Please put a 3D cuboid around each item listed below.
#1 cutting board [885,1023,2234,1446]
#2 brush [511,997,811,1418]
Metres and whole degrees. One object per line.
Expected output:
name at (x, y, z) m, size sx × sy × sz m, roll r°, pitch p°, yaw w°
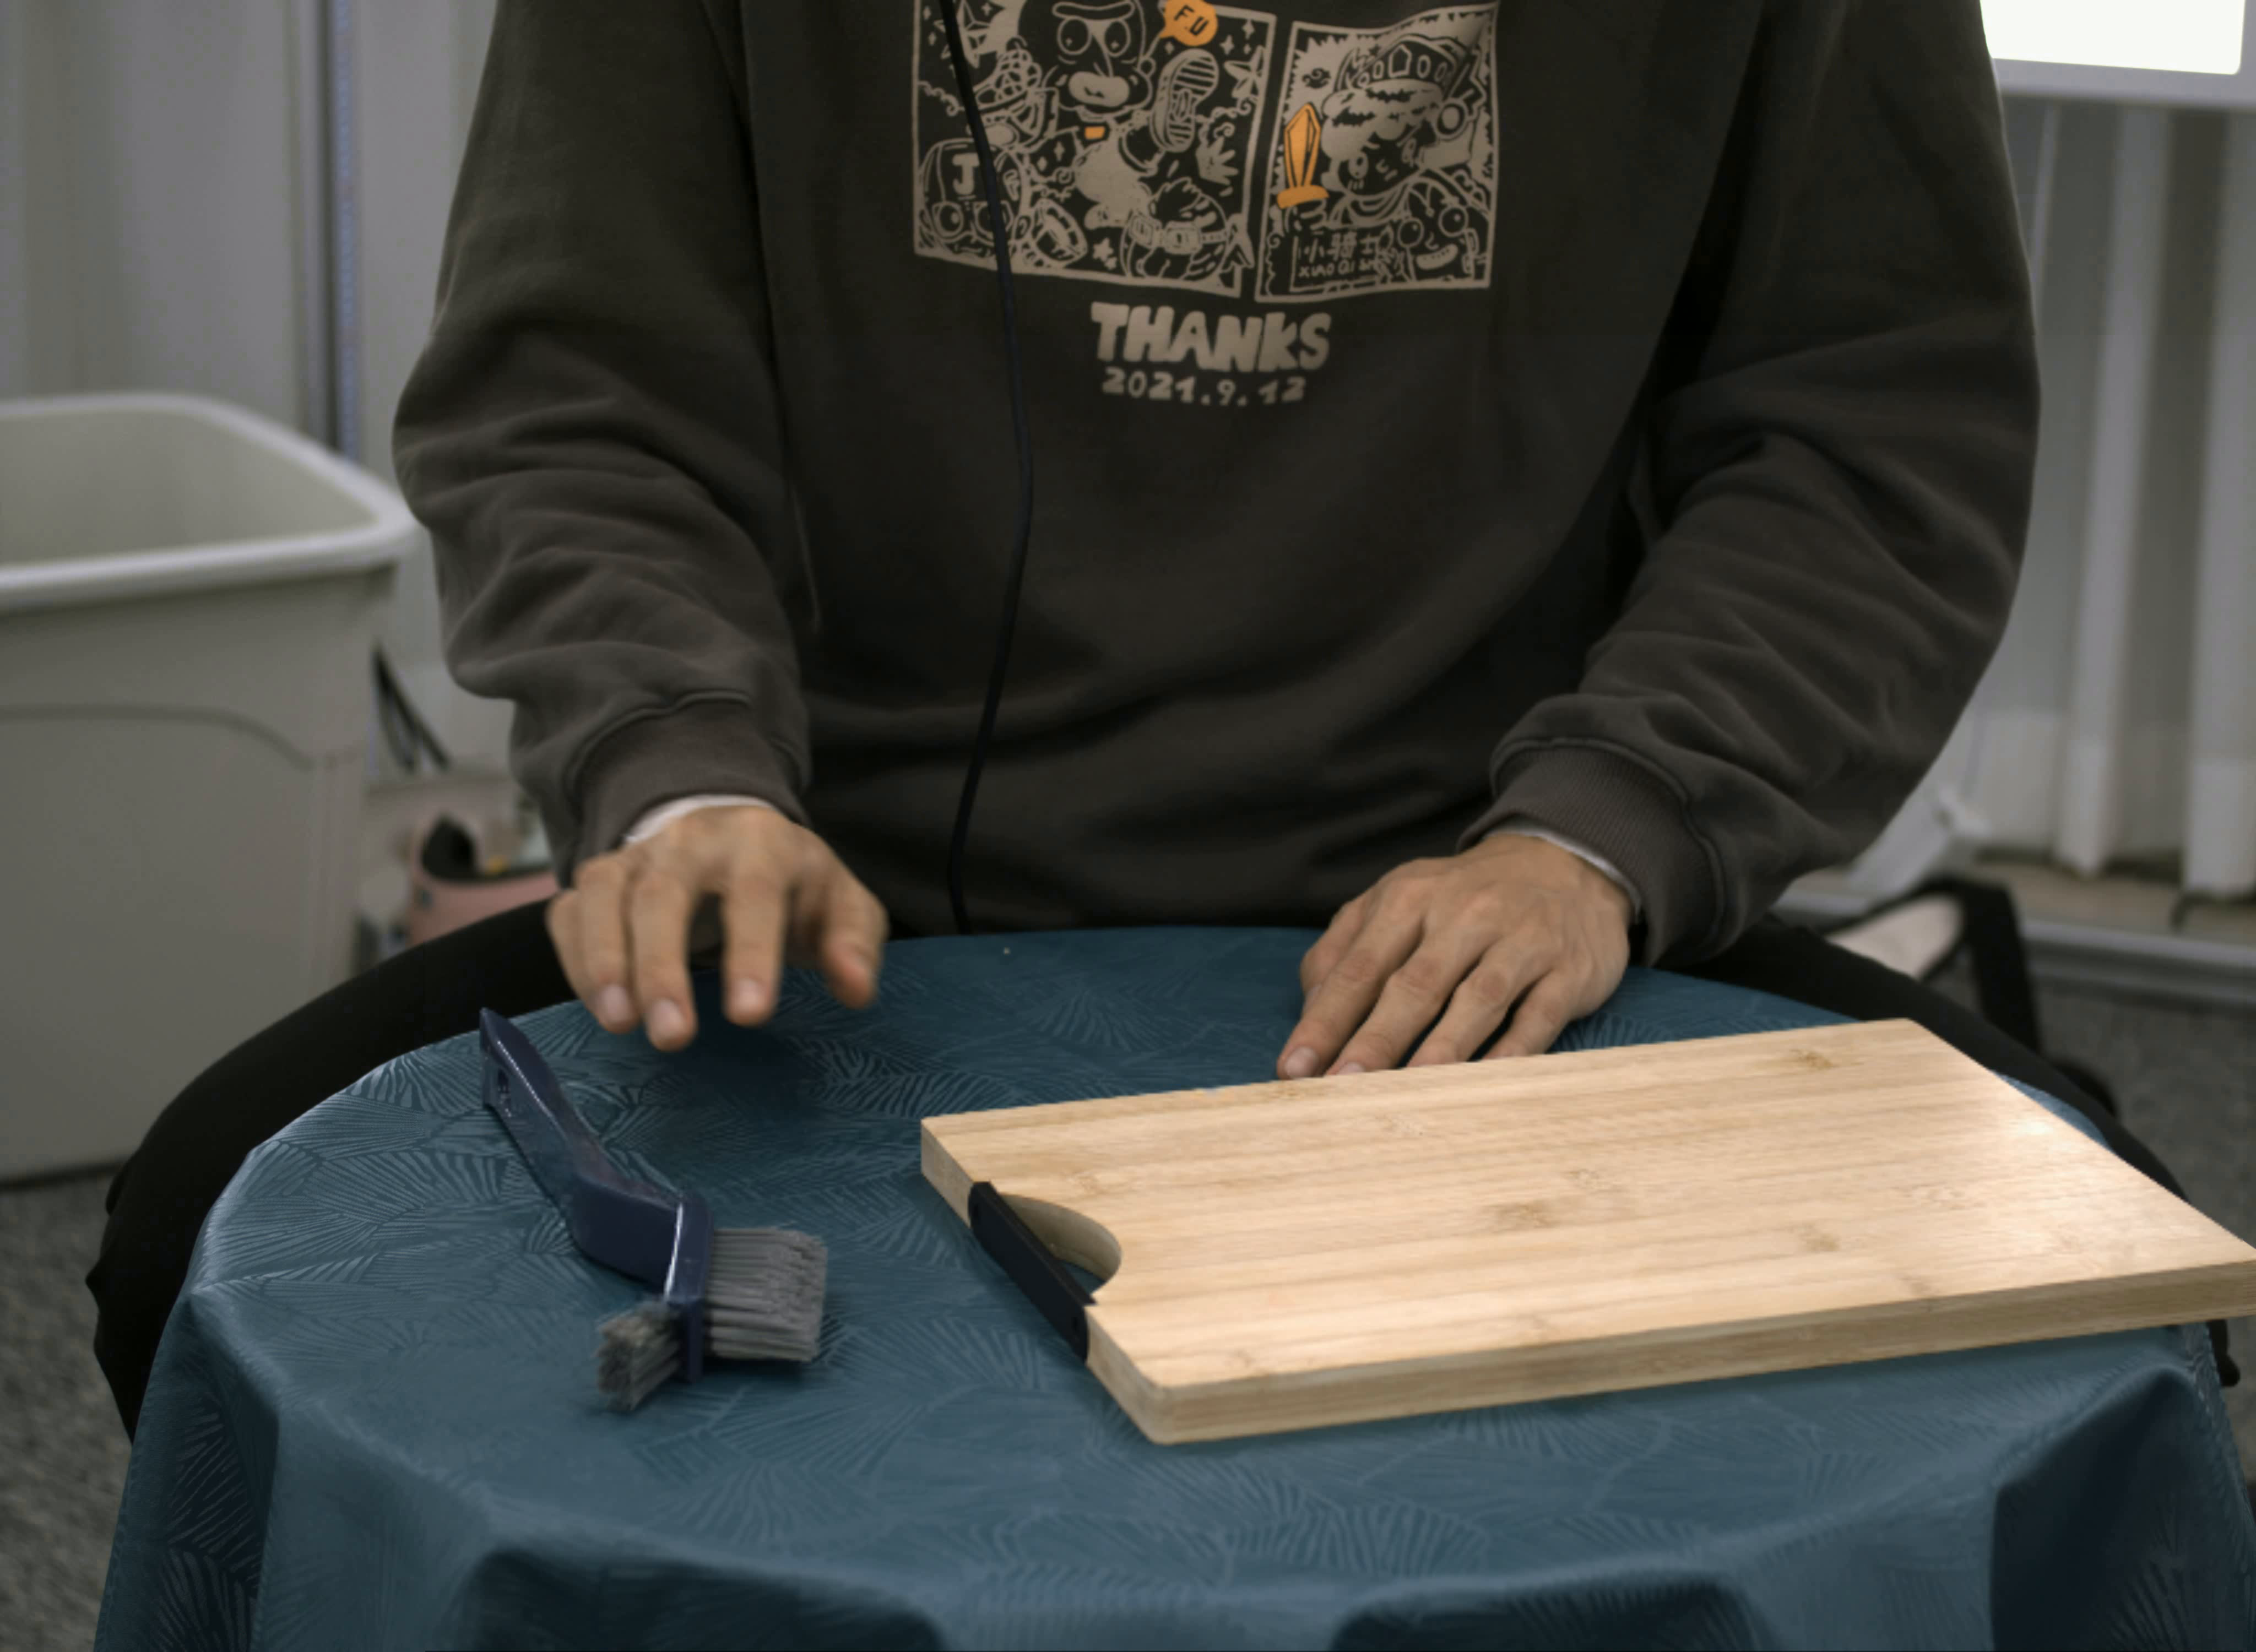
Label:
cutting board at (0.125, 0.118, 1.586) m, size 0.349 × 0.024 × 0.248 m, roll -5°, pitch 16°, yaw -19°
brush at (-0.167, 0.110, 1.576) m, size 0.096 × 0.034 × 0.270 m, roll -7°, pitch 18°, yaw -25°
